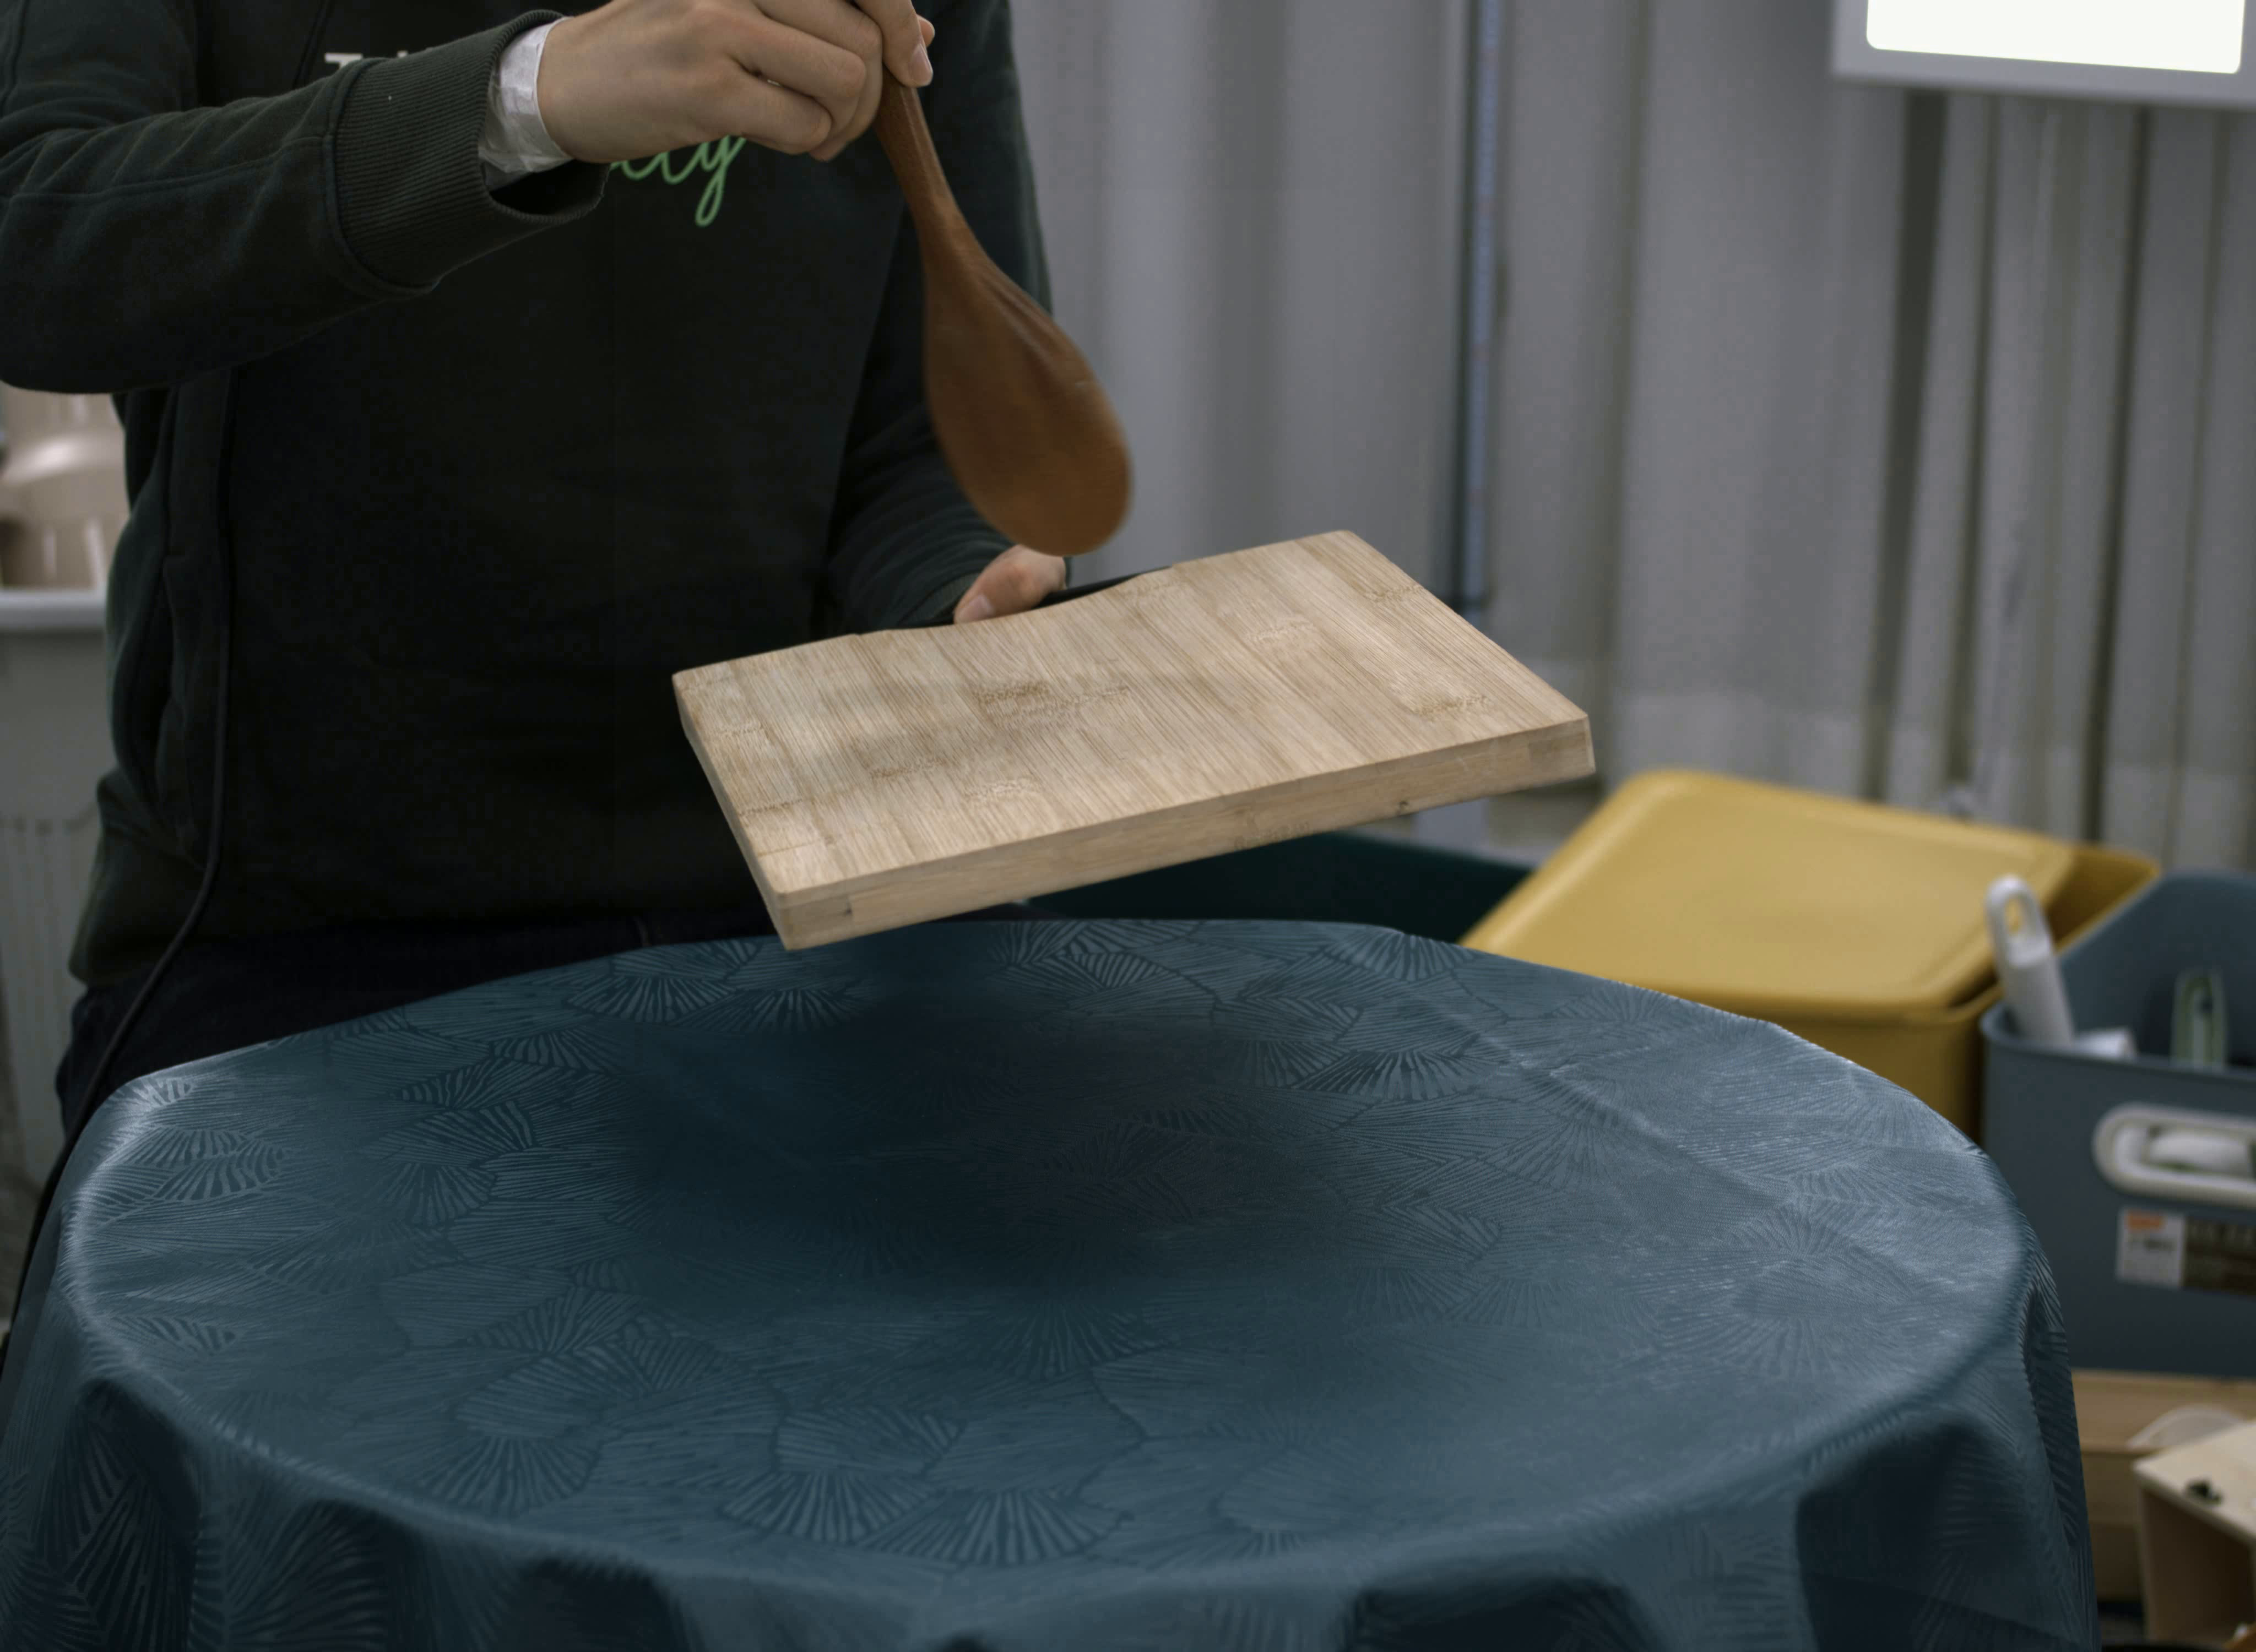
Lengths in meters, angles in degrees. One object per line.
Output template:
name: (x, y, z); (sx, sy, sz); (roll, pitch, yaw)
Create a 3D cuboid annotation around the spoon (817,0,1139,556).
spoon: (-0.053, -0.180, 1.622); (0.075, 0.218, 0.017); (-4, 24, 47)

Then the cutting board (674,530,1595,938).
cutting board: (-0.010, -0.034, 1.659); (0.250, 0.024, 0.346); (-12, 14, -8)
